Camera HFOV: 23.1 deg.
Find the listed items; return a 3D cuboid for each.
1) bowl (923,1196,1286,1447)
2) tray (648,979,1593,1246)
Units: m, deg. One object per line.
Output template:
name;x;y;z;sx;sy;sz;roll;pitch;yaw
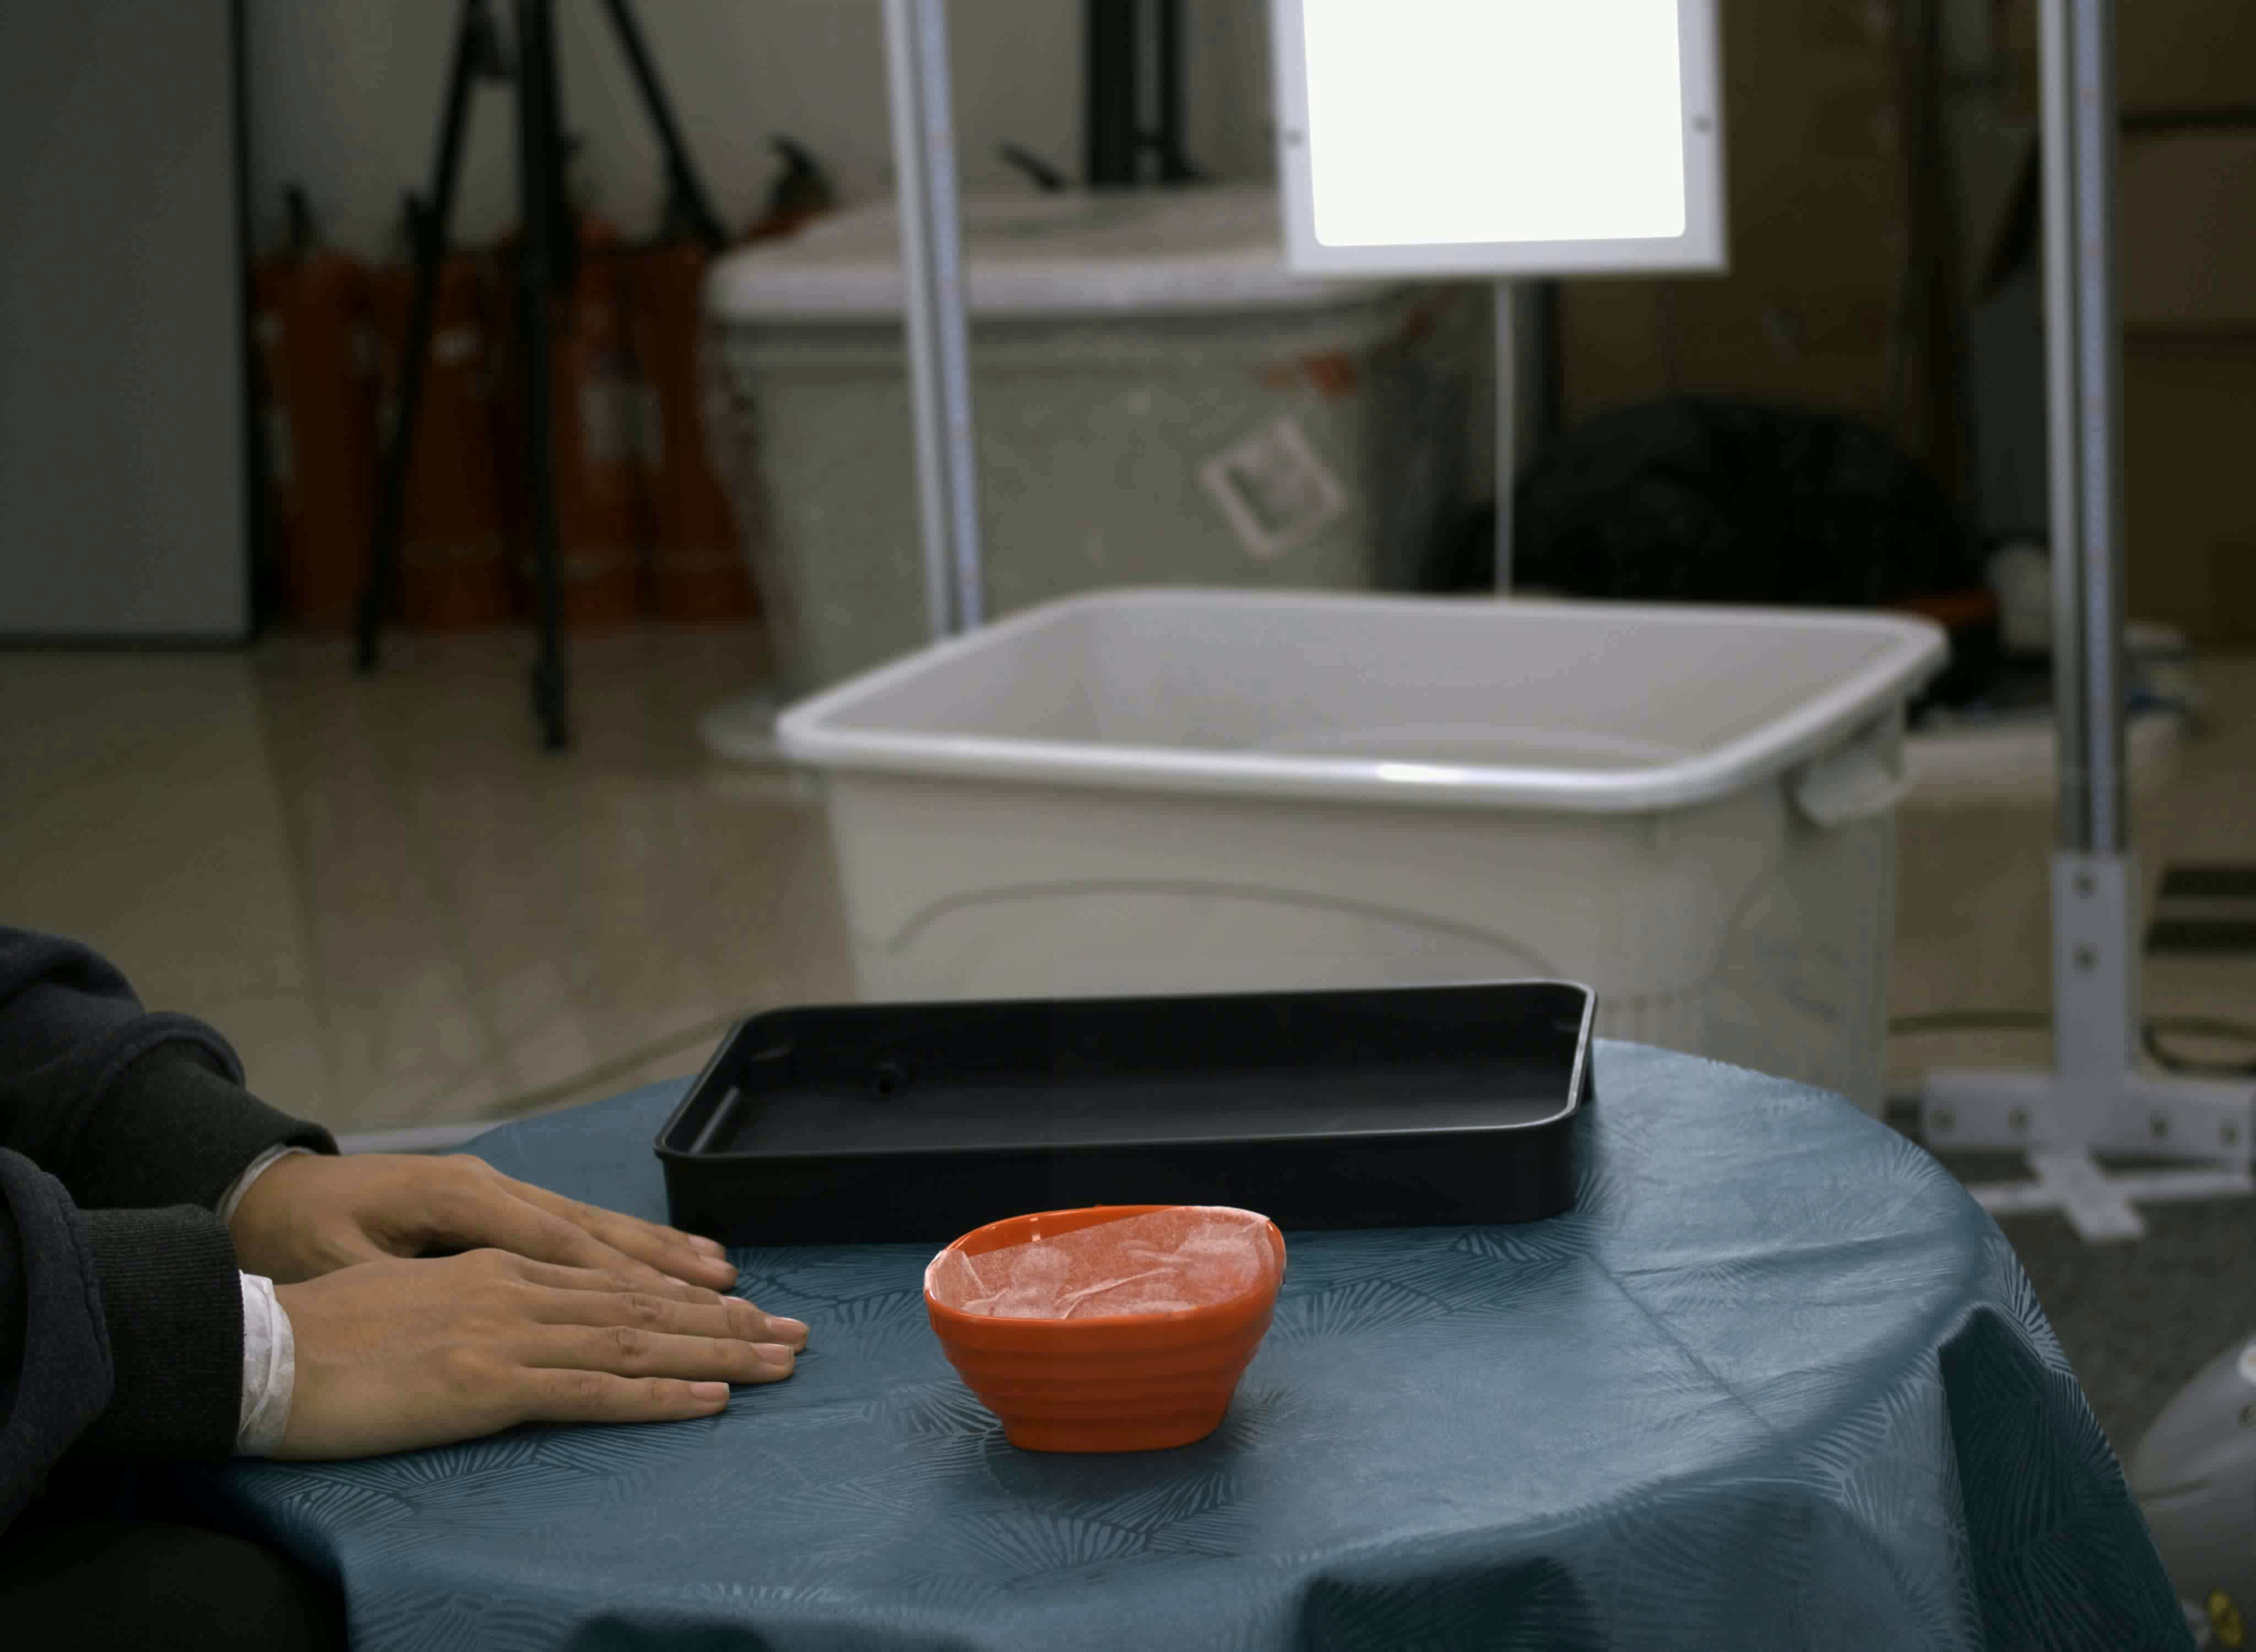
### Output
bowl;-0.006;0.153;1.674;0.118;0.051;0.119;-4;15;0
tray;0.002;0.099;1.931;0.320;0.037;0.182;-2;14;10
